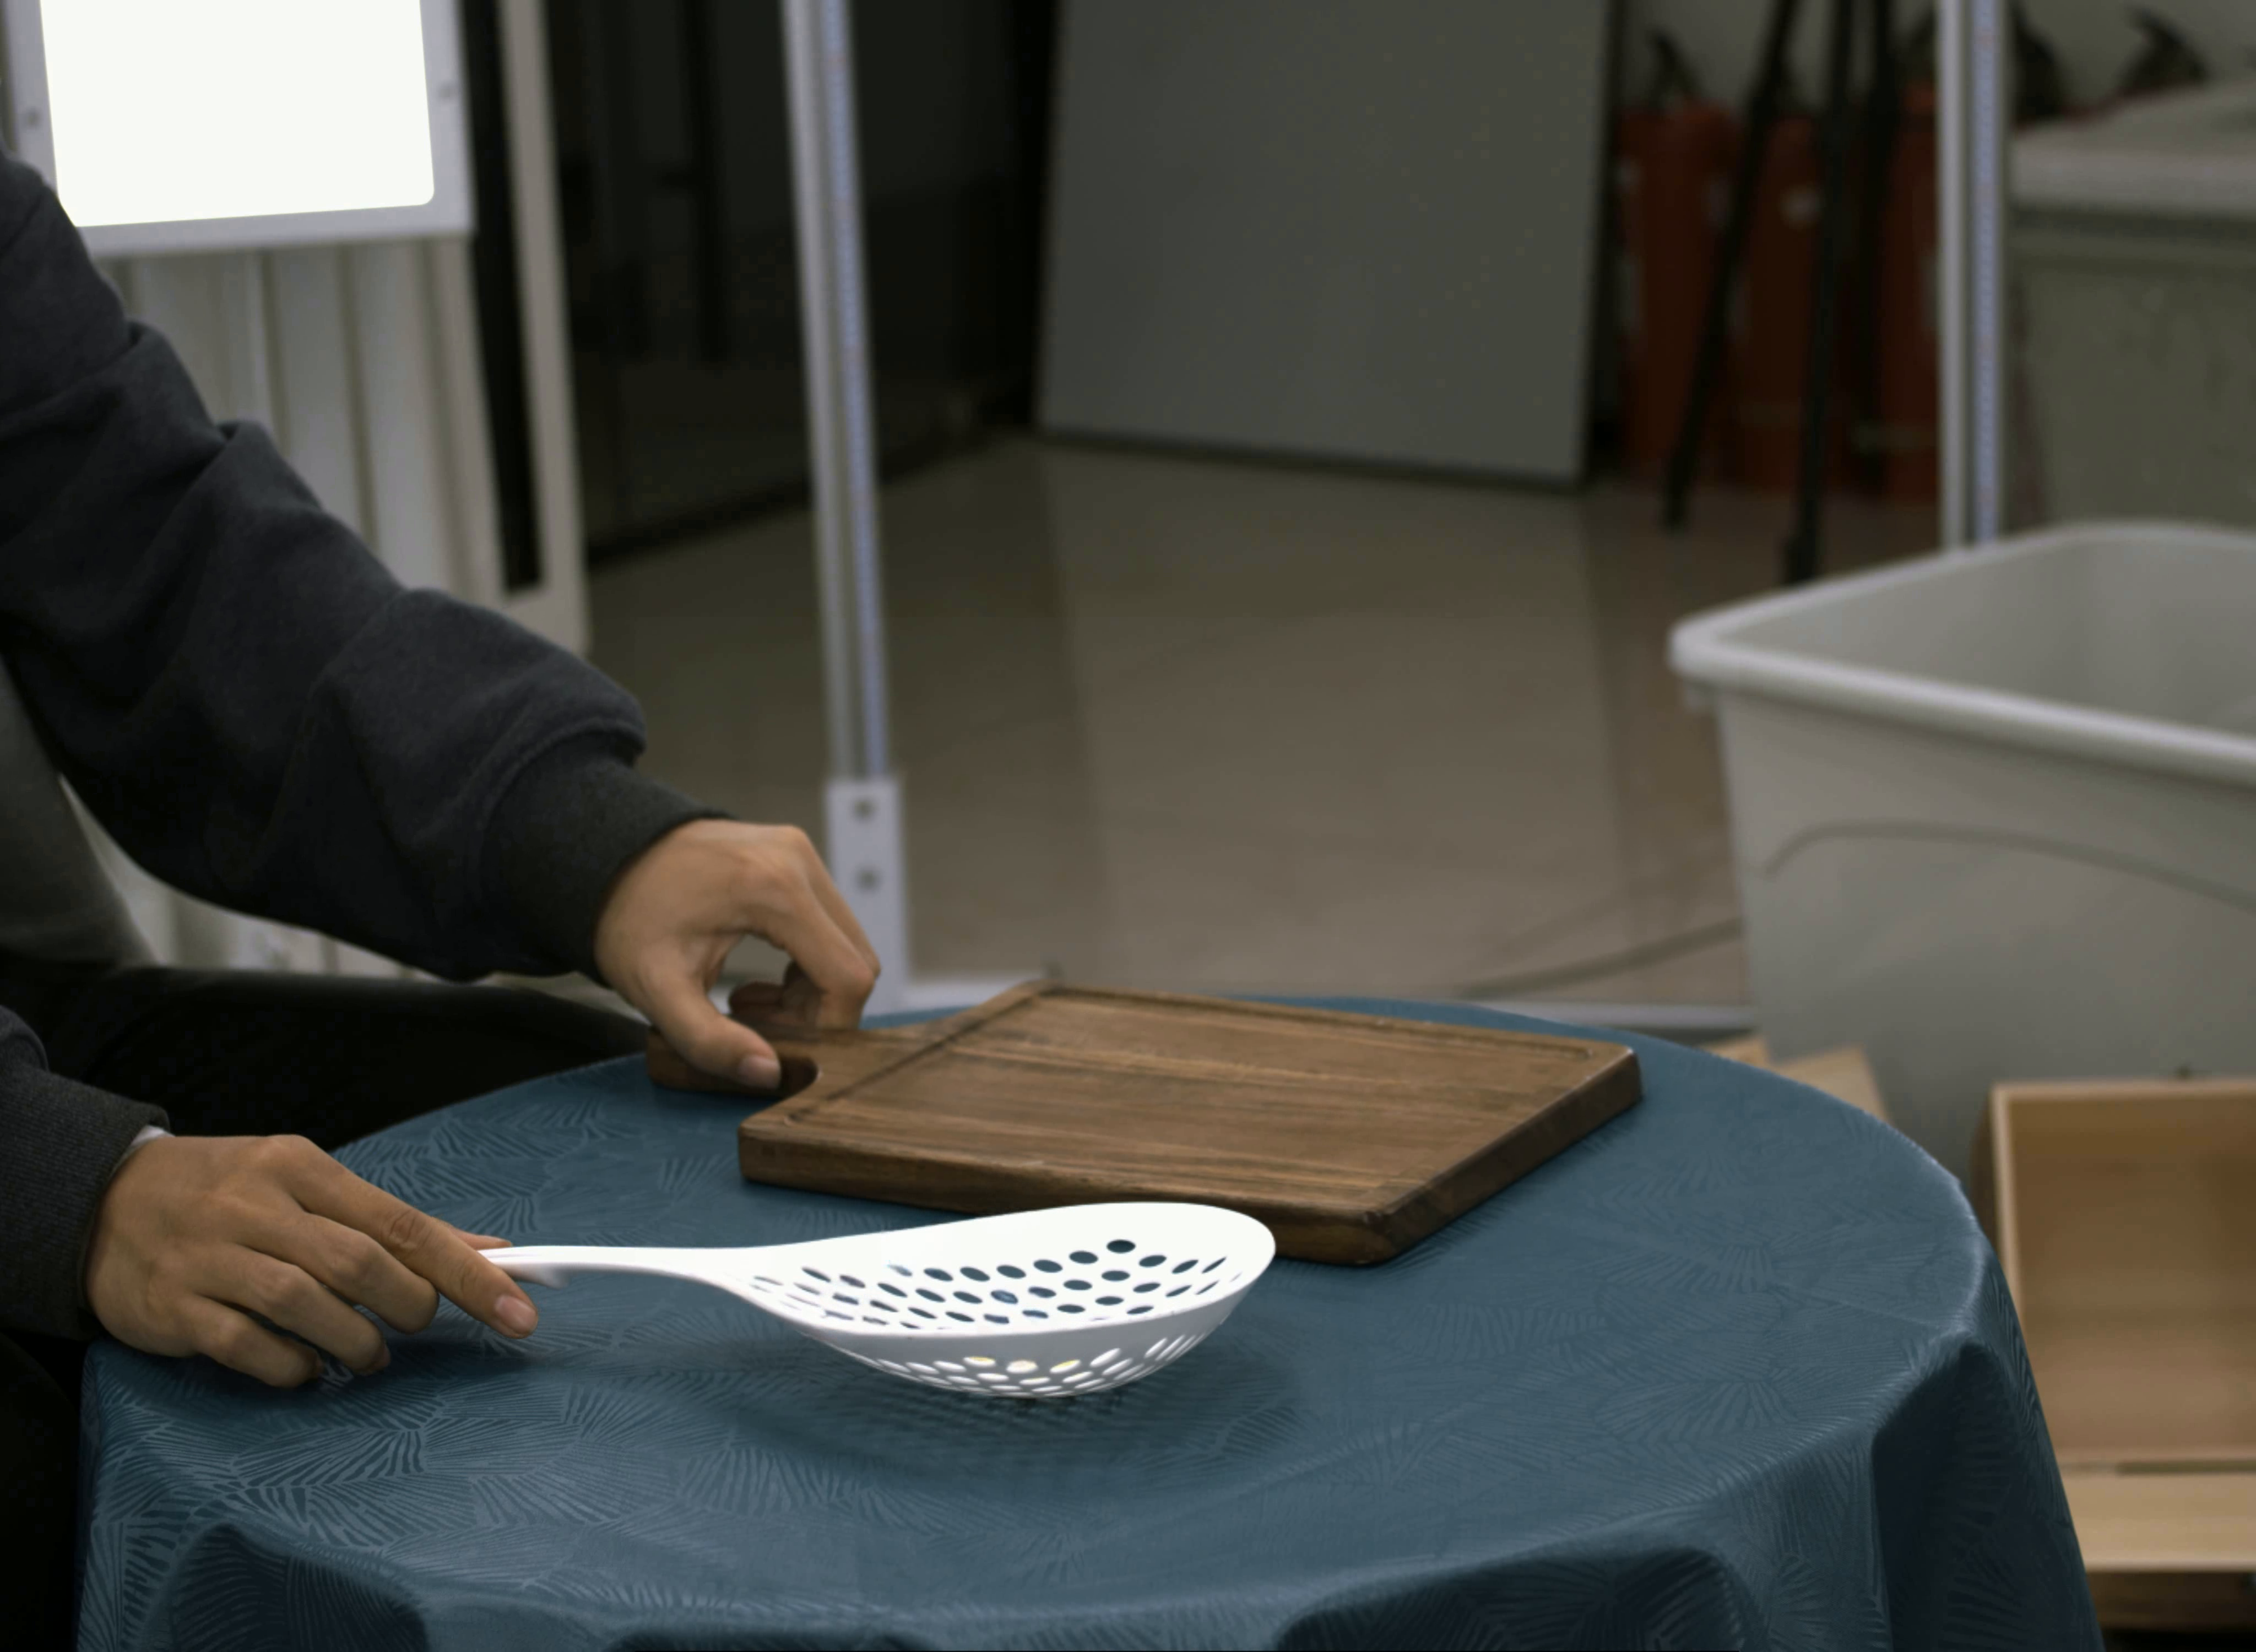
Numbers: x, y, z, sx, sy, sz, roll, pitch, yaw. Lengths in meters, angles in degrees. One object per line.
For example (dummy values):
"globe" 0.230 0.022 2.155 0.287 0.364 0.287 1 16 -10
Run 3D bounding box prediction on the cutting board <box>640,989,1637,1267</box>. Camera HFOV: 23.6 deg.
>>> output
"cutting board" -0.020 0.094 1.842 0.354 0.023 0.198 5 16 32

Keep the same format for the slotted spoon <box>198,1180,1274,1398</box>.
"slotted spoon" -0.123 0.143 1.627 0.347 0.051 0.135 1 13 21
